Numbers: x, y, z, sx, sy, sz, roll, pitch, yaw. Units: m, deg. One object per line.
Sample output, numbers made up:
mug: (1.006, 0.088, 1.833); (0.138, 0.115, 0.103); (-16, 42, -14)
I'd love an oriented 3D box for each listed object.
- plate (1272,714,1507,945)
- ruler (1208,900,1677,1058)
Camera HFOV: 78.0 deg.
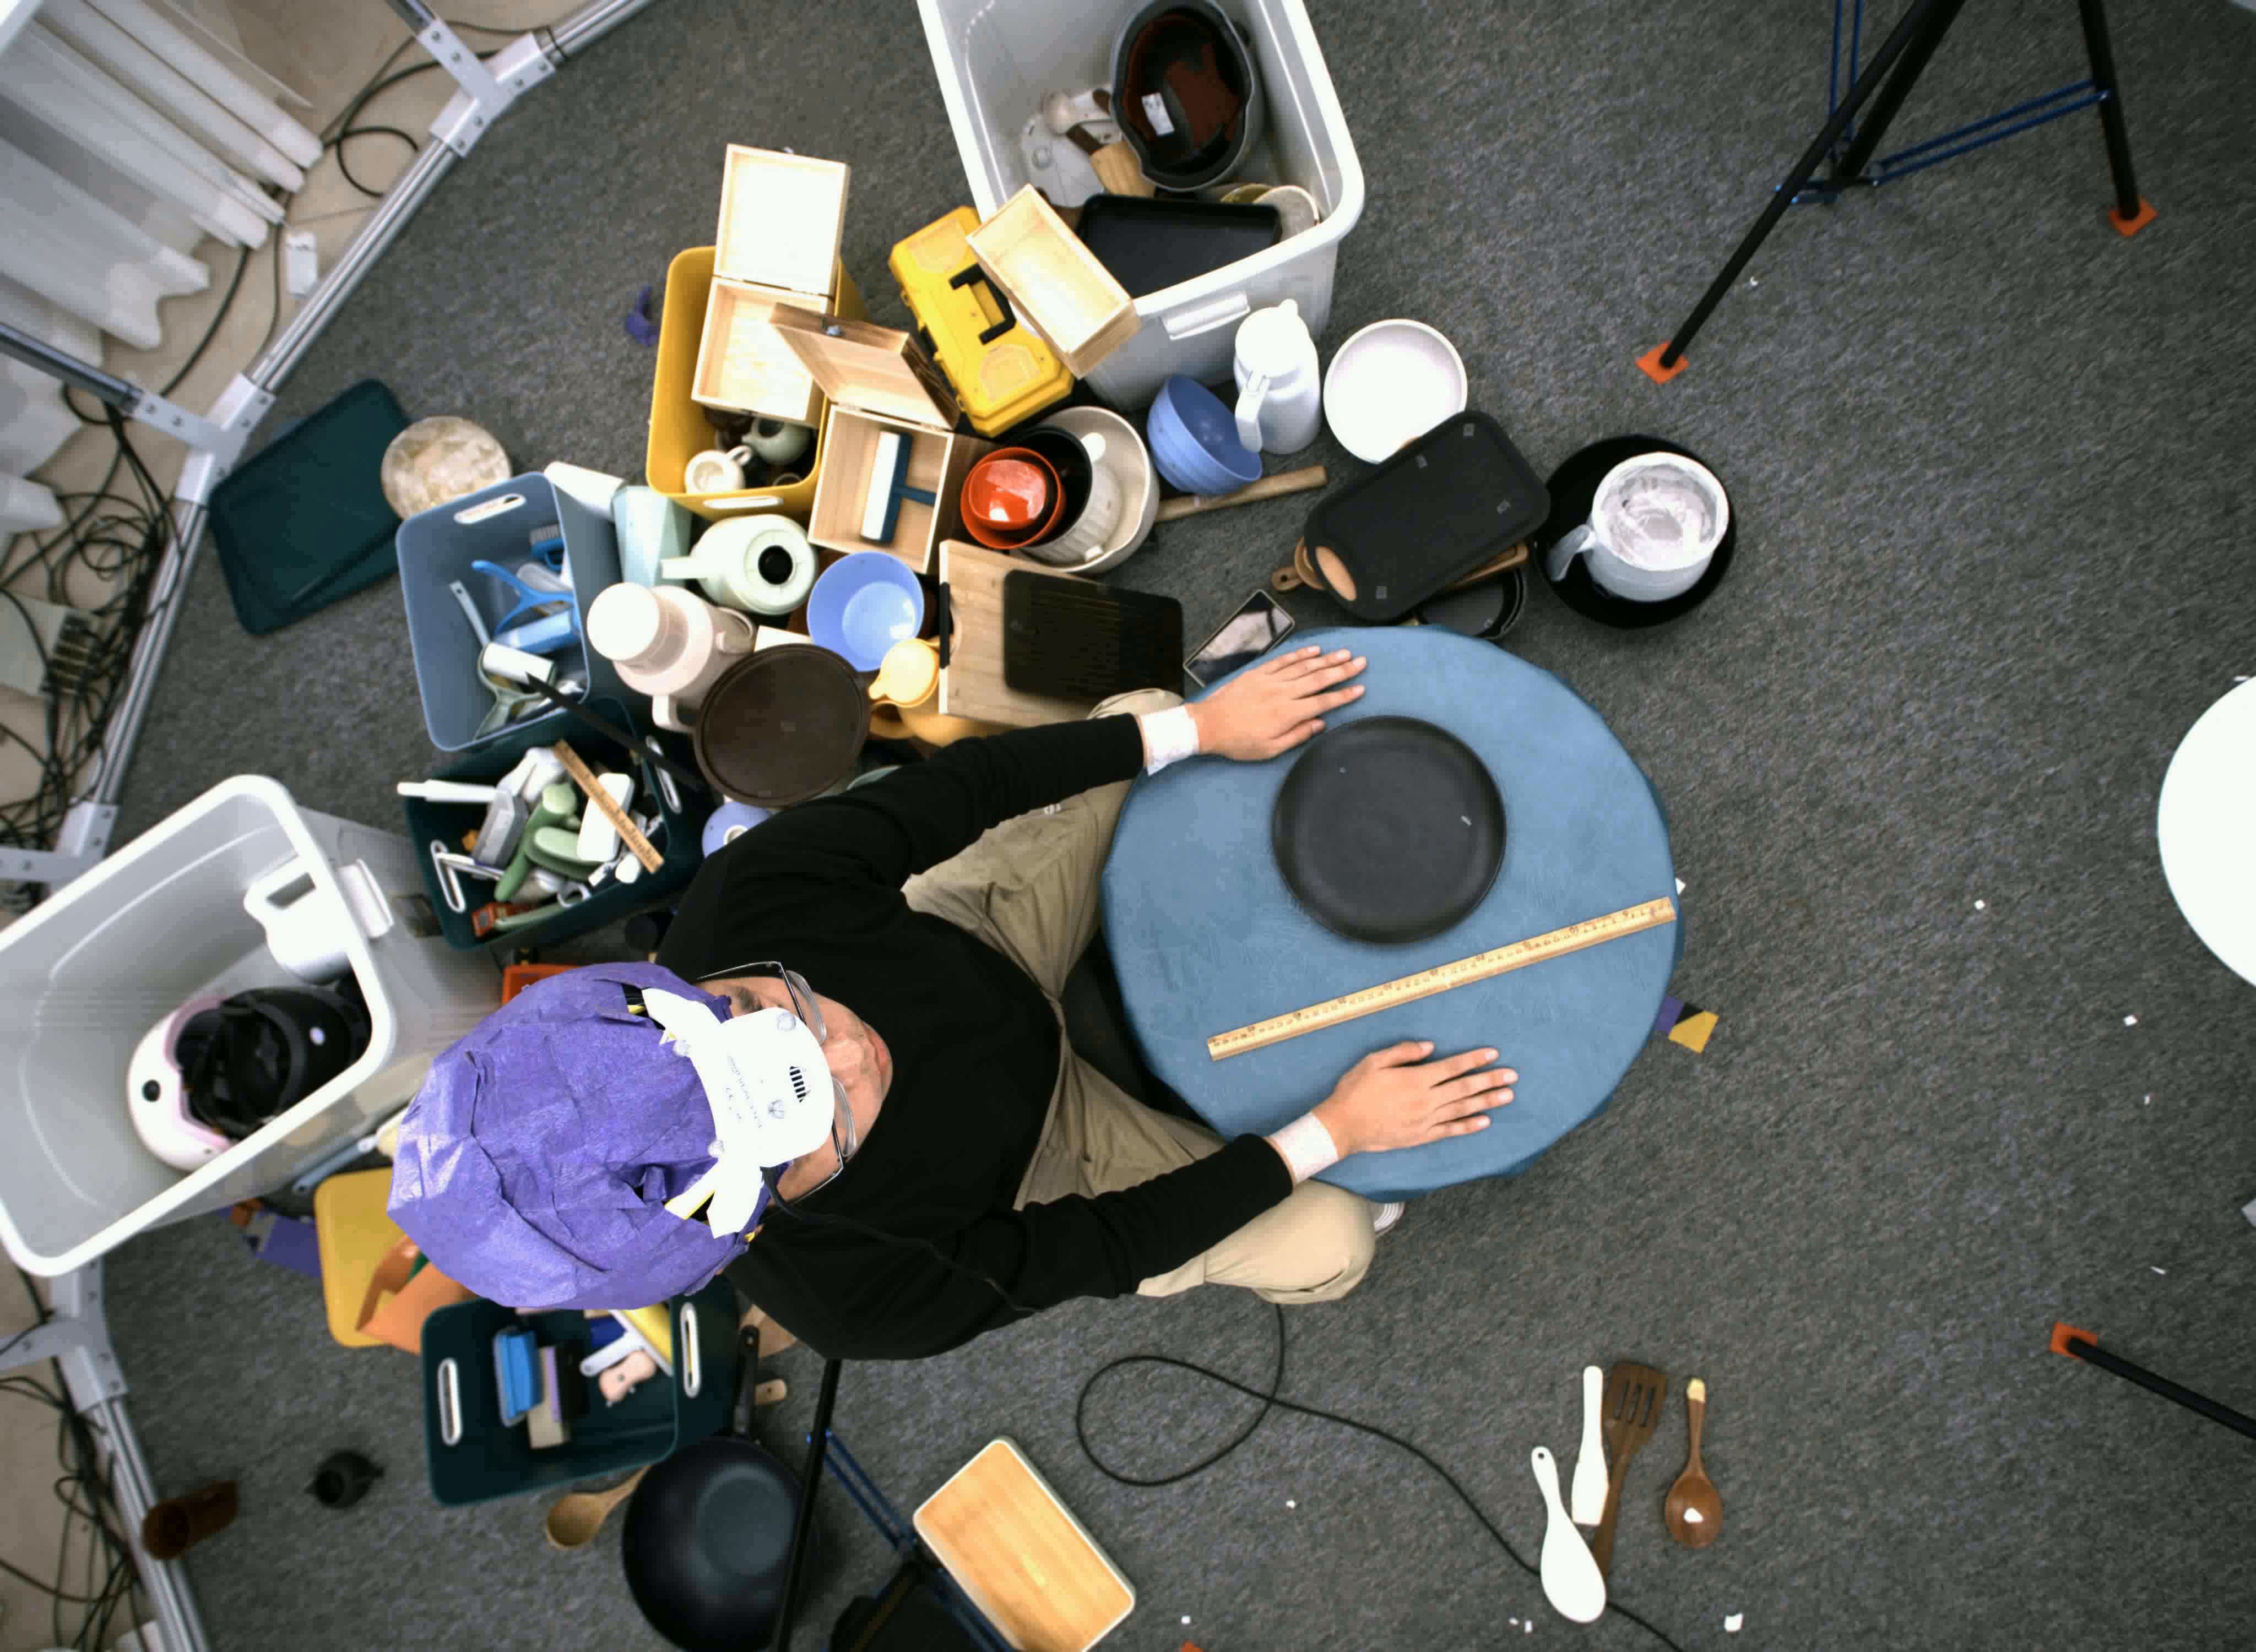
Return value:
plate: (0.274, 0.003, 1.451); (0.245, 0.023, 0.243); (-1, 87, 11)
ruler: (0.323, 0.159, 1.443); (0.503, 0.006, 0.026); (-18, 82, 9)
